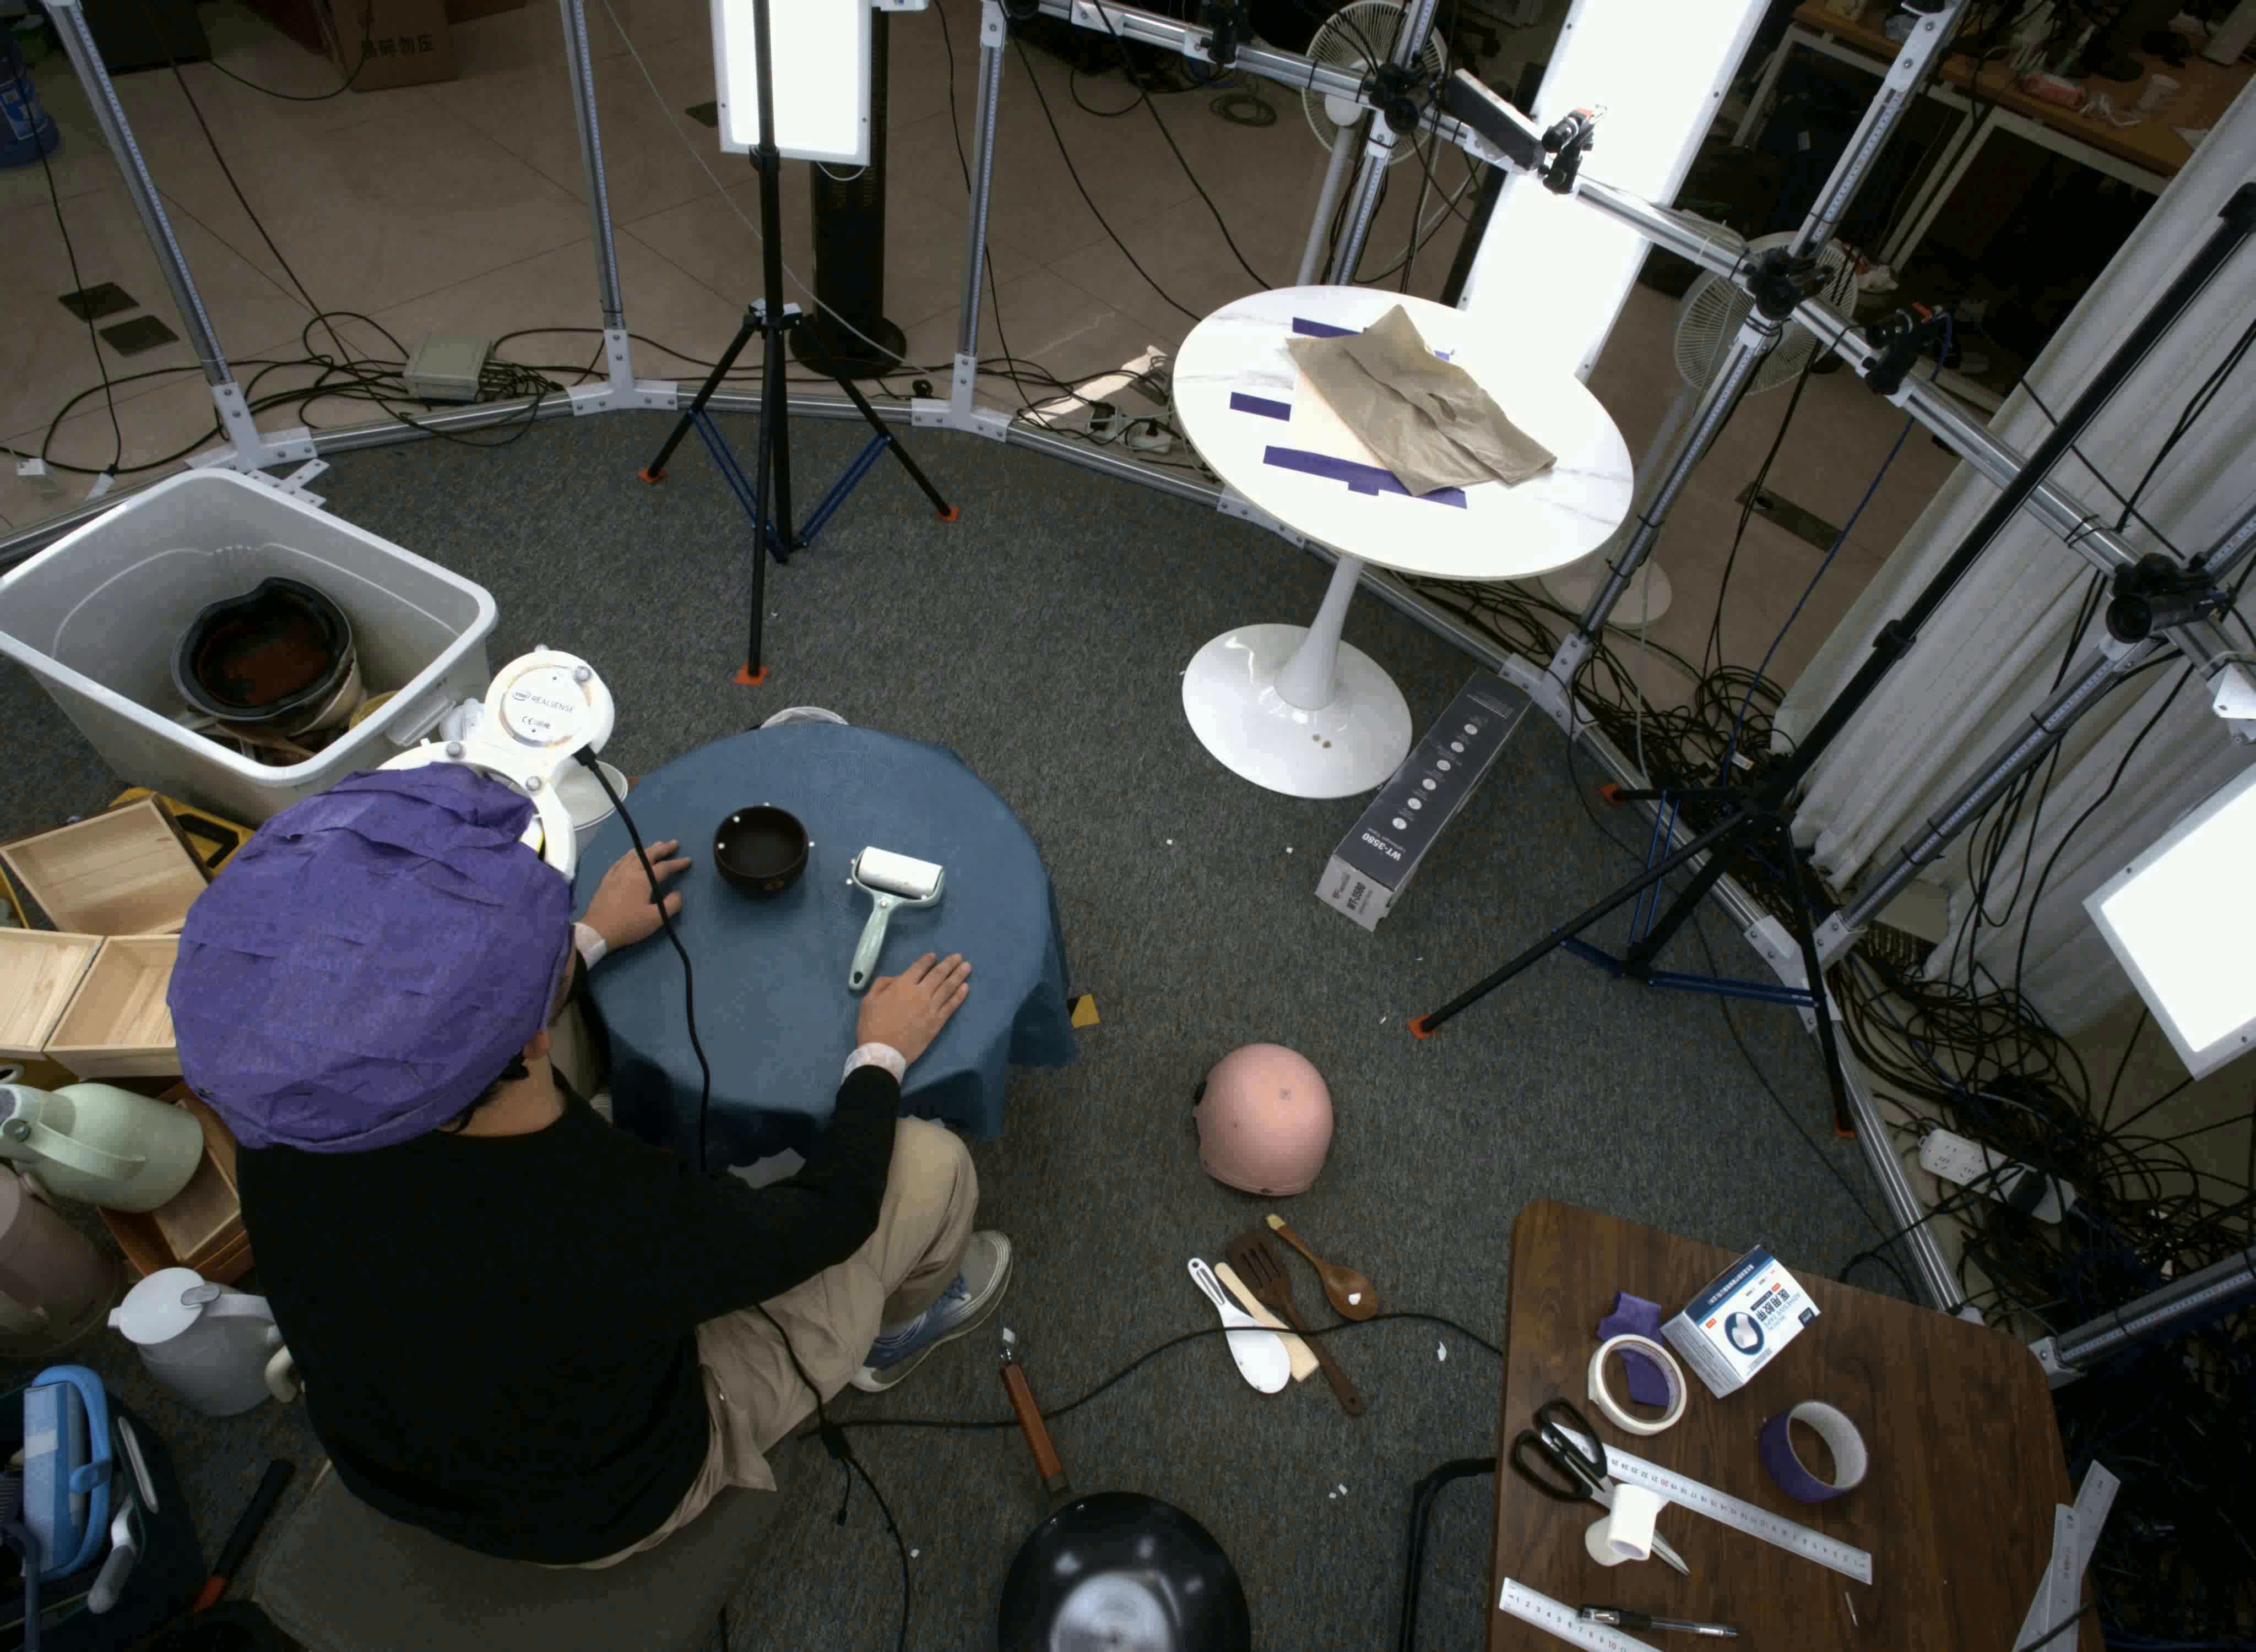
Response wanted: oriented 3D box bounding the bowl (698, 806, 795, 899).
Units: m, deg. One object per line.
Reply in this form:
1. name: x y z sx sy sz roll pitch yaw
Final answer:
1. bowl: -0.479 0.039 1.628 0.118 0.071 0.116 8 53 -9

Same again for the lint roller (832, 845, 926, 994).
1. lint roller: -0.331 0.115 1.629 0.116 0.049 0.195 16 54 -3
